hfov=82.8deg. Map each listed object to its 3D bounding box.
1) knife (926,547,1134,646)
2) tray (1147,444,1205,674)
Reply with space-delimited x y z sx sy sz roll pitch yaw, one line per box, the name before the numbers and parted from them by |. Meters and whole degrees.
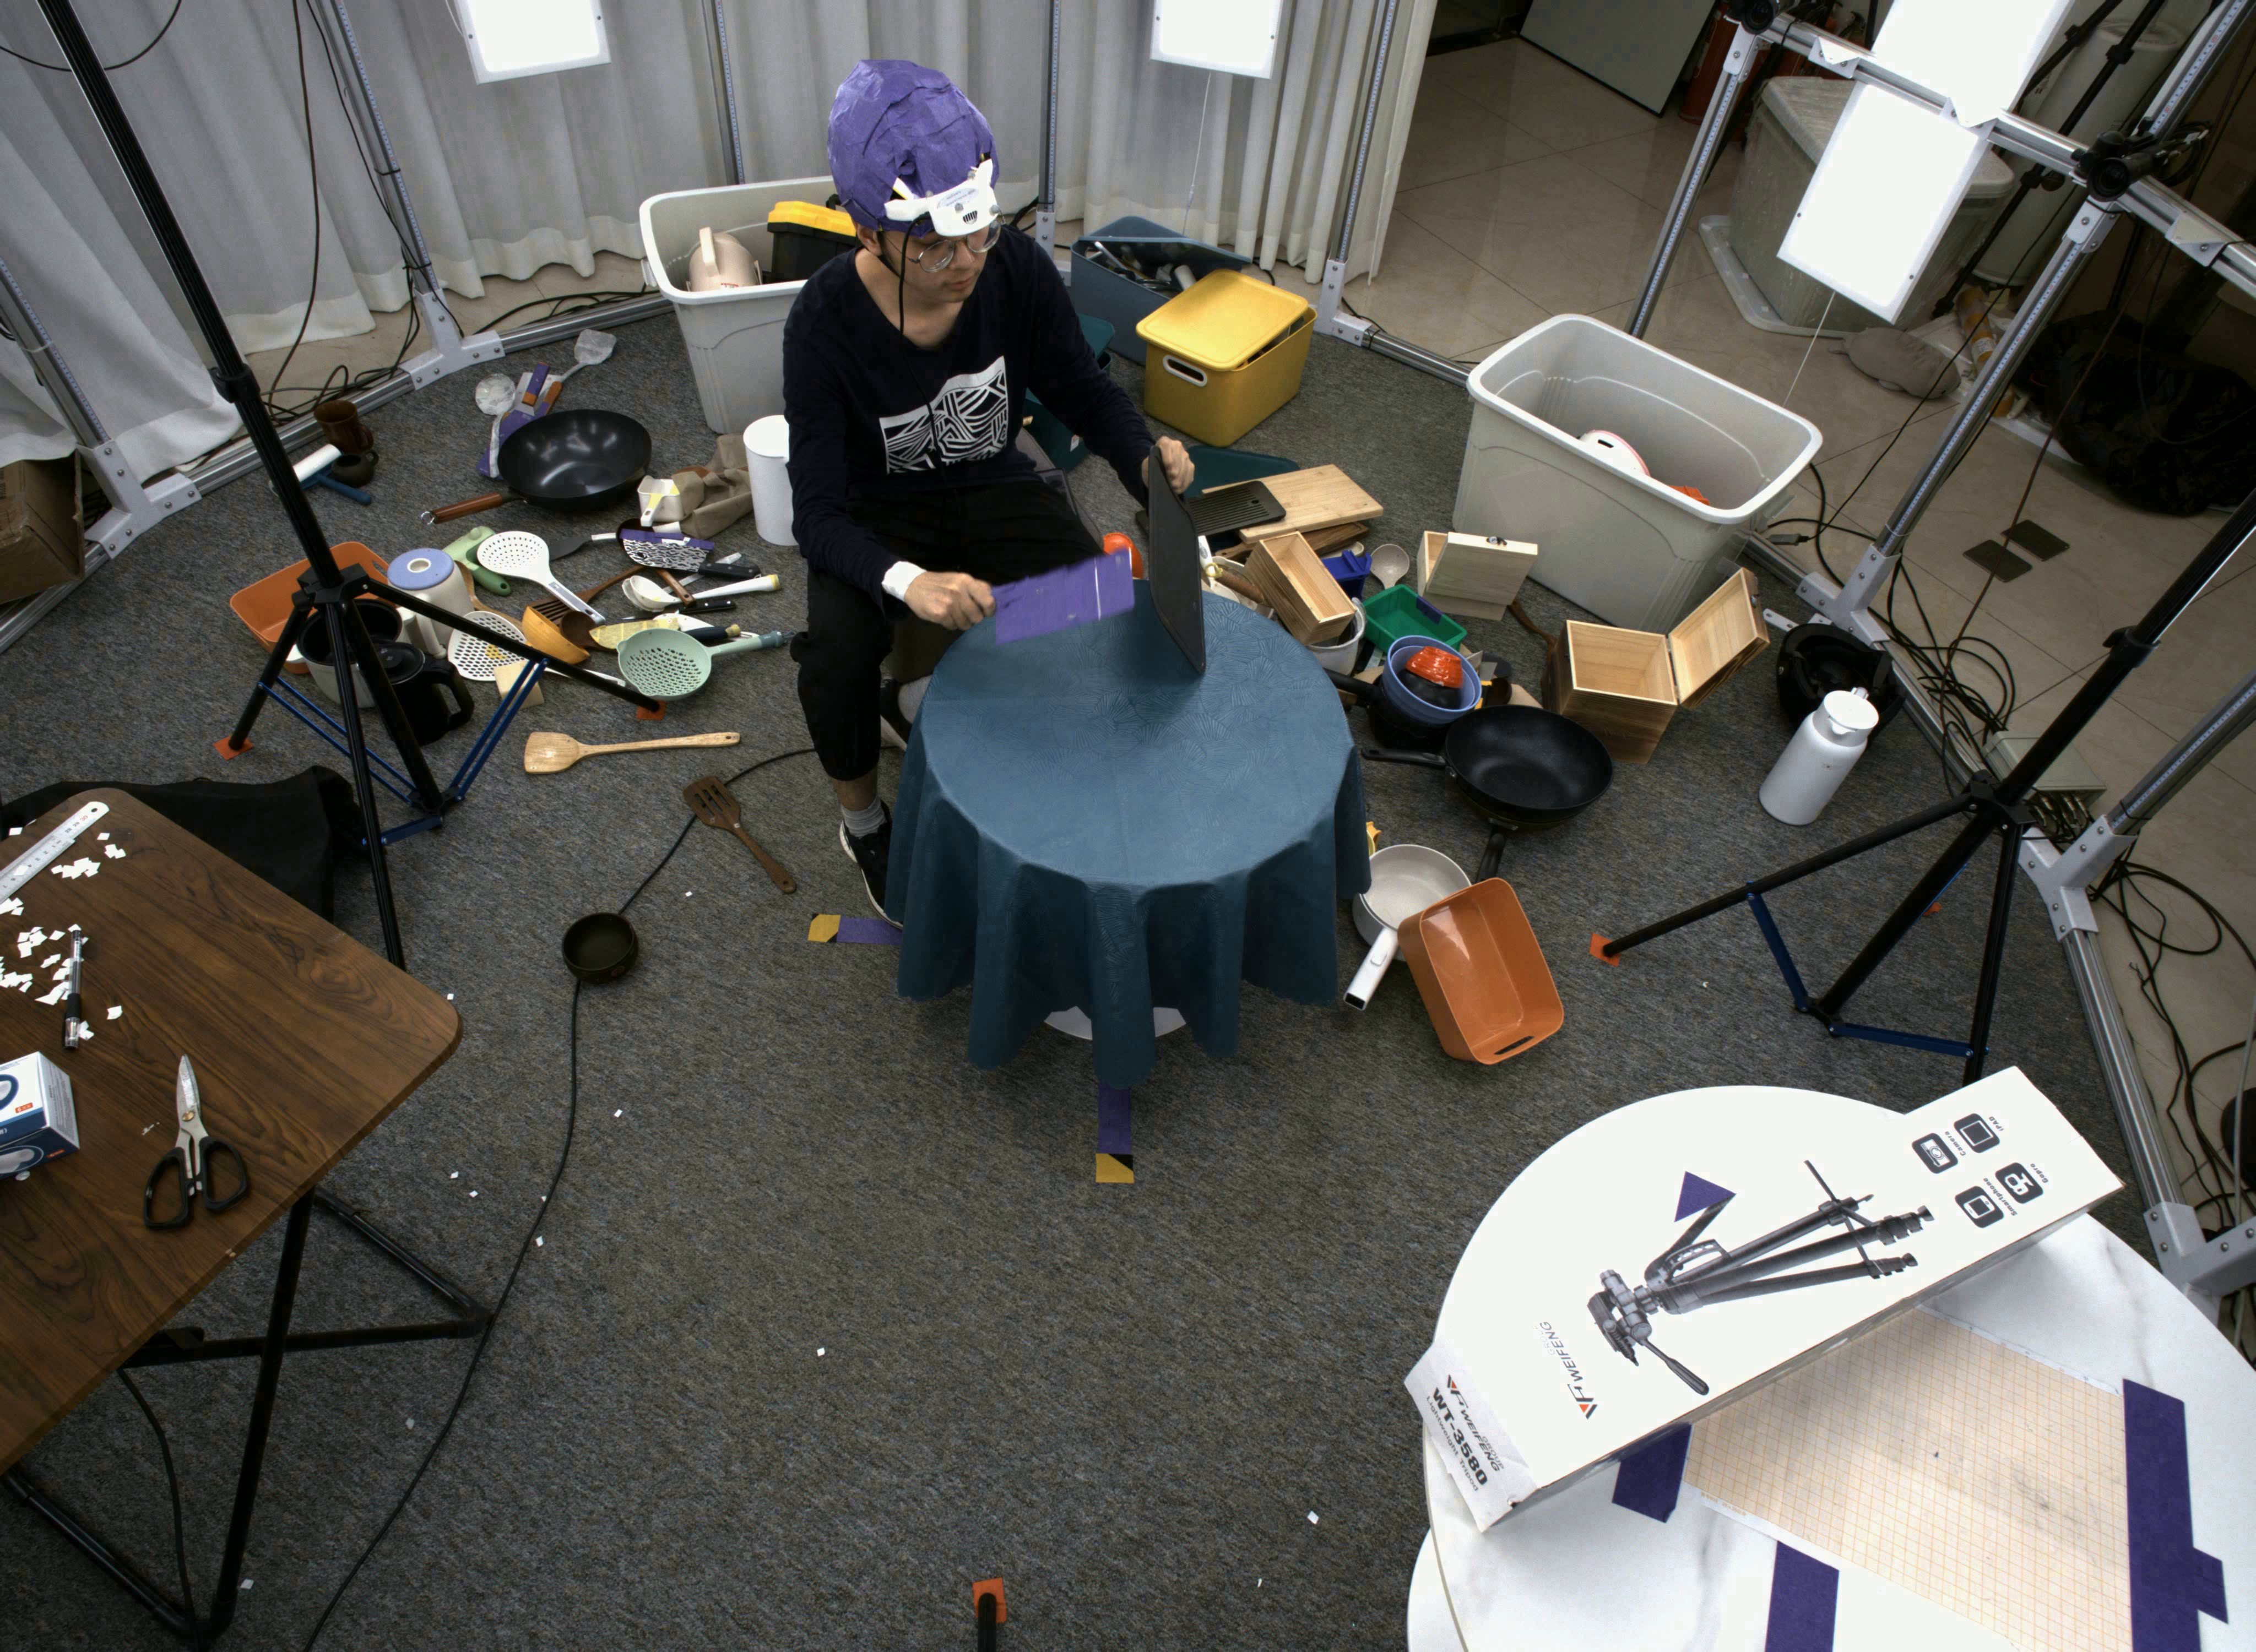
knife | -0.136 -0.293 1.730 0.315 0.031 0.106 -12 63 25
tray | 0.072 -0.393 1.860 0.010 0.207 0.332 -12 58 21
